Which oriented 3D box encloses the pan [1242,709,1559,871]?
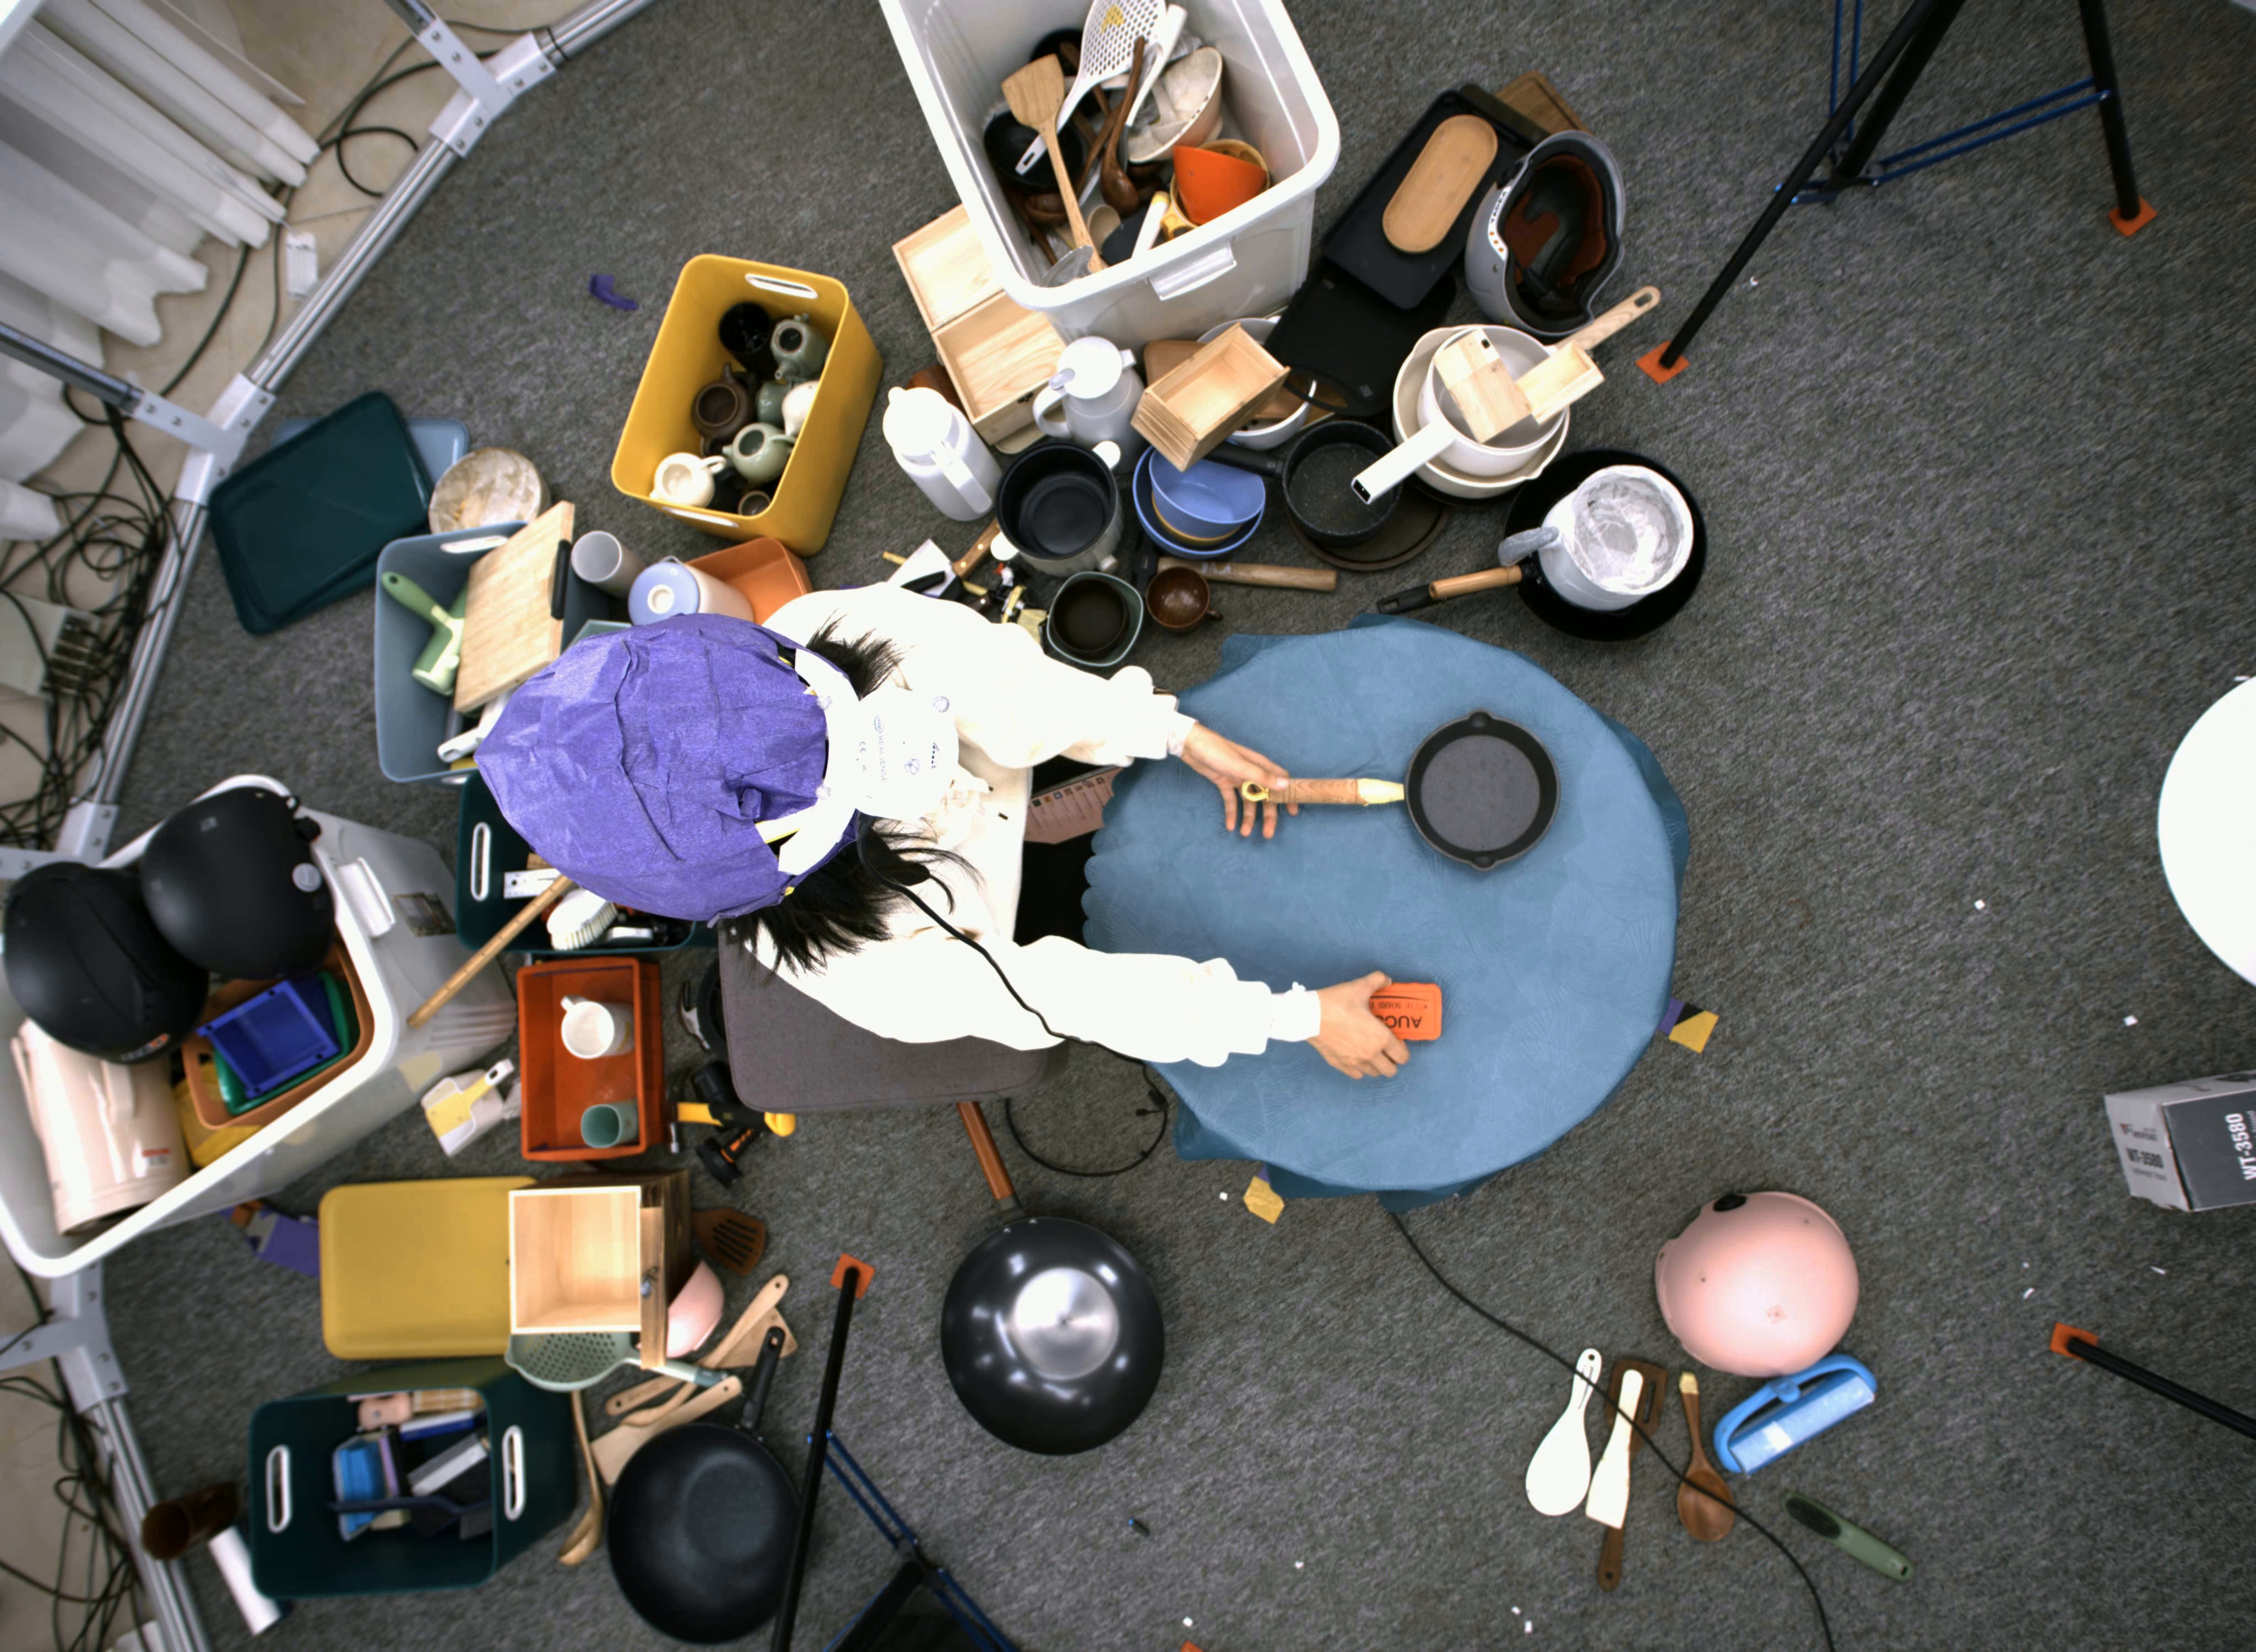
[{"bbox_3d":[0.282,-0.039,1.438,0.325,0.049,0.168,1,87,9],"label":"pan"}]

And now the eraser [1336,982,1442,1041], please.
[{"bbox_3d":[0.271,0.191,1.438,0.108,0.023,0.059,-1,94,10],"label":"eraser"}]
